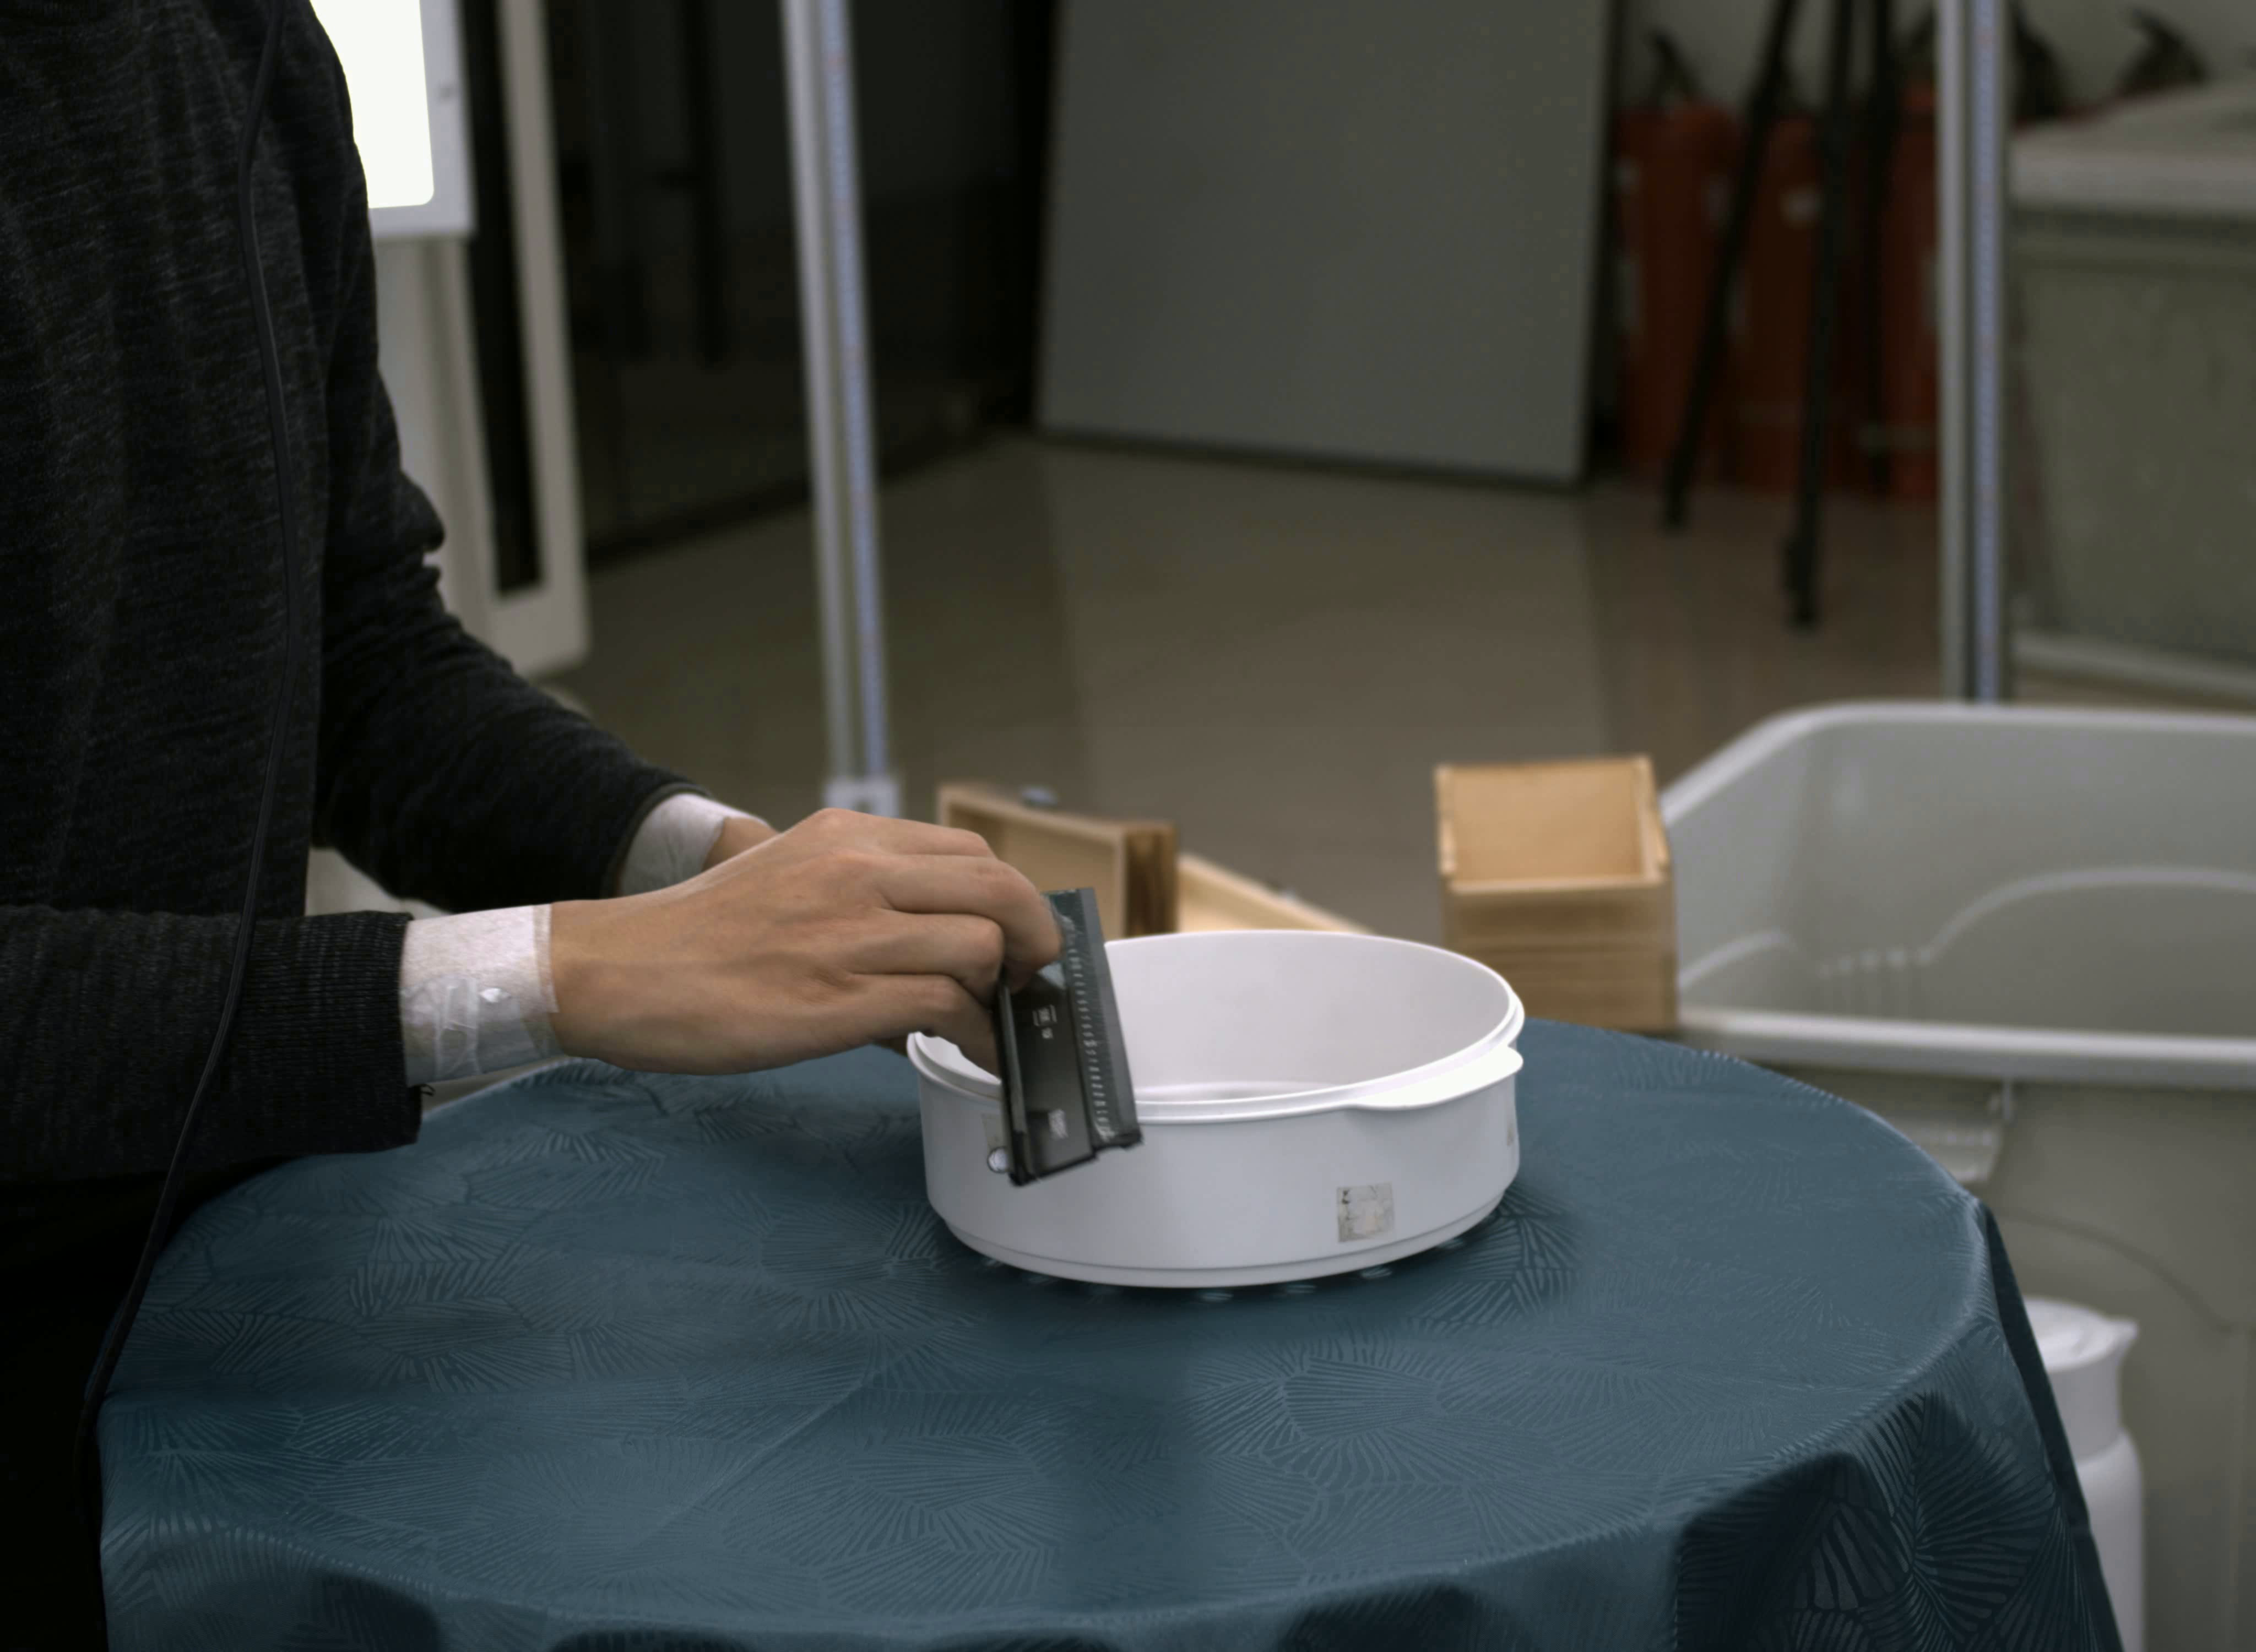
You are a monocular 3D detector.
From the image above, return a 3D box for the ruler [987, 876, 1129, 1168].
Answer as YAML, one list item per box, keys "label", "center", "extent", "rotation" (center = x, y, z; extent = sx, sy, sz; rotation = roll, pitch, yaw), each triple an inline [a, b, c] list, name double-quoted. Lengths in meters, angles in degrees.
- label: "ruler"
  center: [-0.024, 0.049, 1.602]
  extent: [0.039, 0.017, 0.313]
  rotation: [-18, 11, 2]

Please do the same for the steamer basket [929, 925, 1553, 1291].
- label: "steamer basket"
  center: [0.036, 0.091, 1.739]
  extent: [0.232, 0.070, 0.198]
  rotation: [12, 21, 43]
